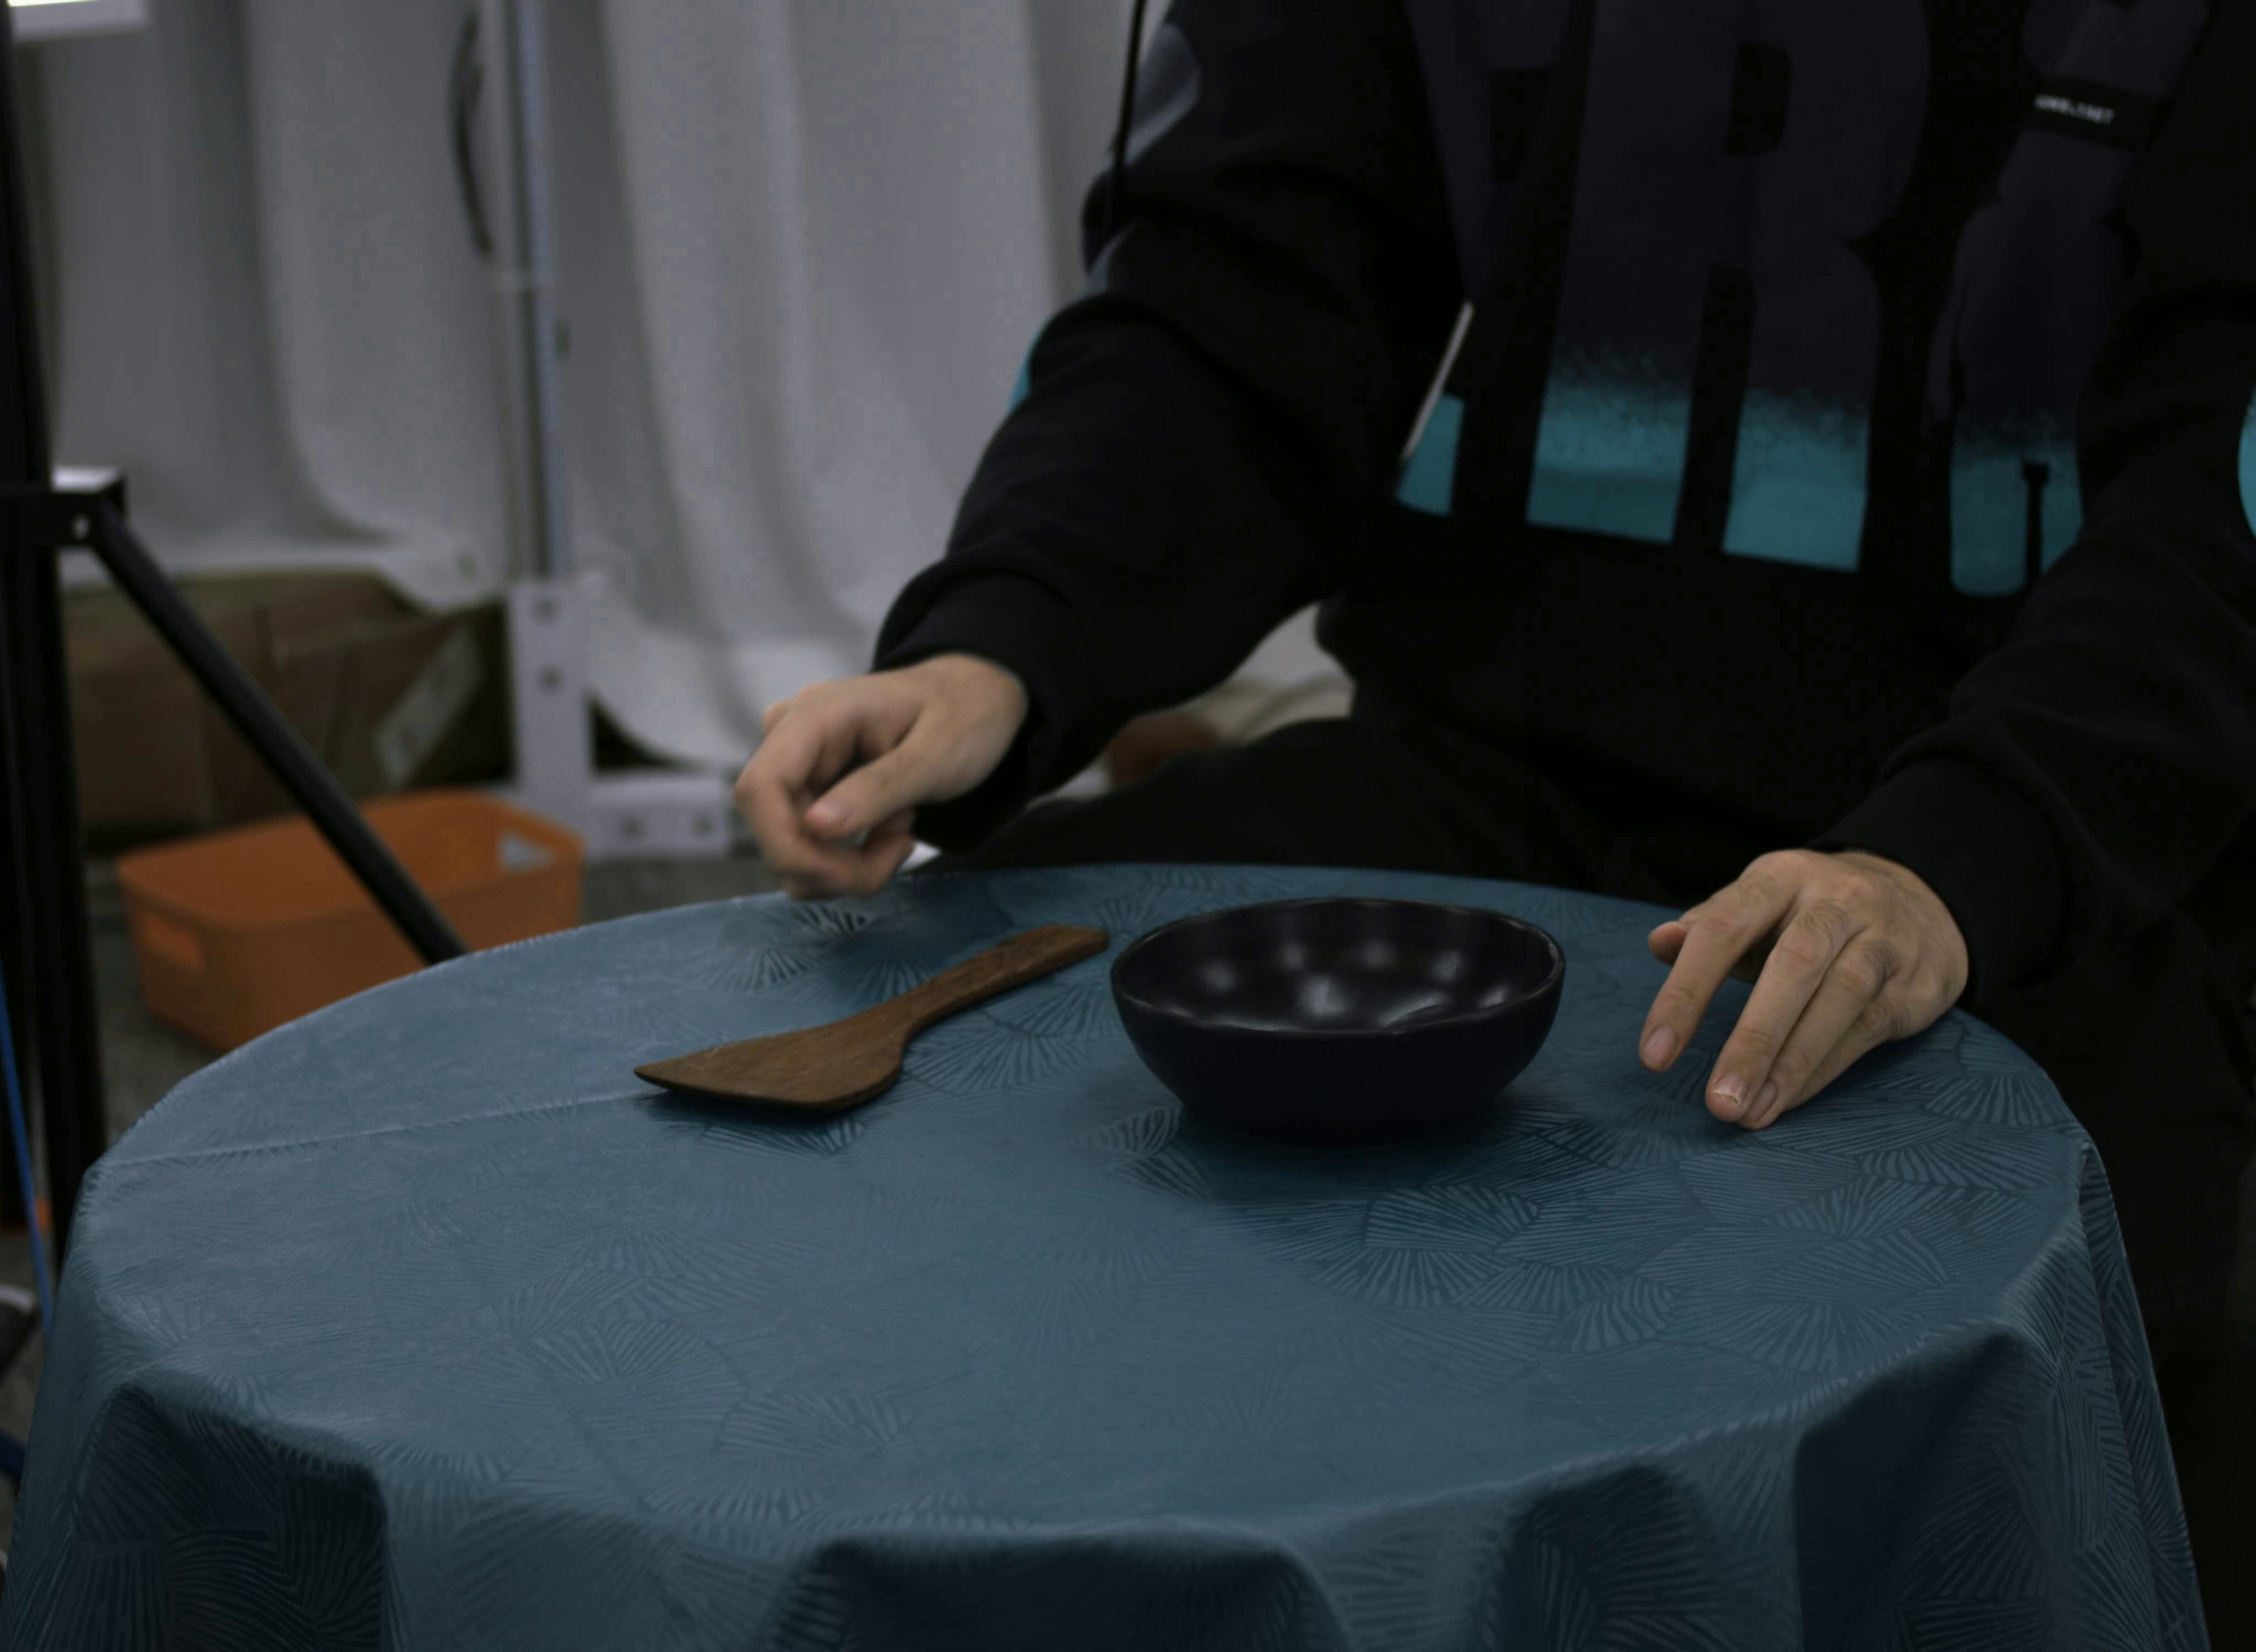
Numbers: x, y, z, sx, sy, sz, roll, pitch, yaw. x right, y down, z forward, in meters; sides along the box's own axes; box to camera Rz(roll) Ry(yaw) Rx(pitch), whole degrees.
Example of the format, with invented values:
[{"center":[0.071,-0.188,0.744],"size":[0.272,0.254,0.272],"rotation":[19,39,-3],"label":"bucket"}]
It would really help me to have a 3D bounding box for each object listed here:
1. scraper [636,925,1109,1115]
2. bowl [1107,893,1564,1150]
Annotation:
[{"center":[-0.071,0.061,1.722],"size":[0.077,0.011,0.207],"rotation":[9,19,32],"label":"scraper"},{"center":[0.065,0.064,1.611],"size":[0.139,0.050,0.141],"rotation":[-5,15,0],"label":"bowl"}]
